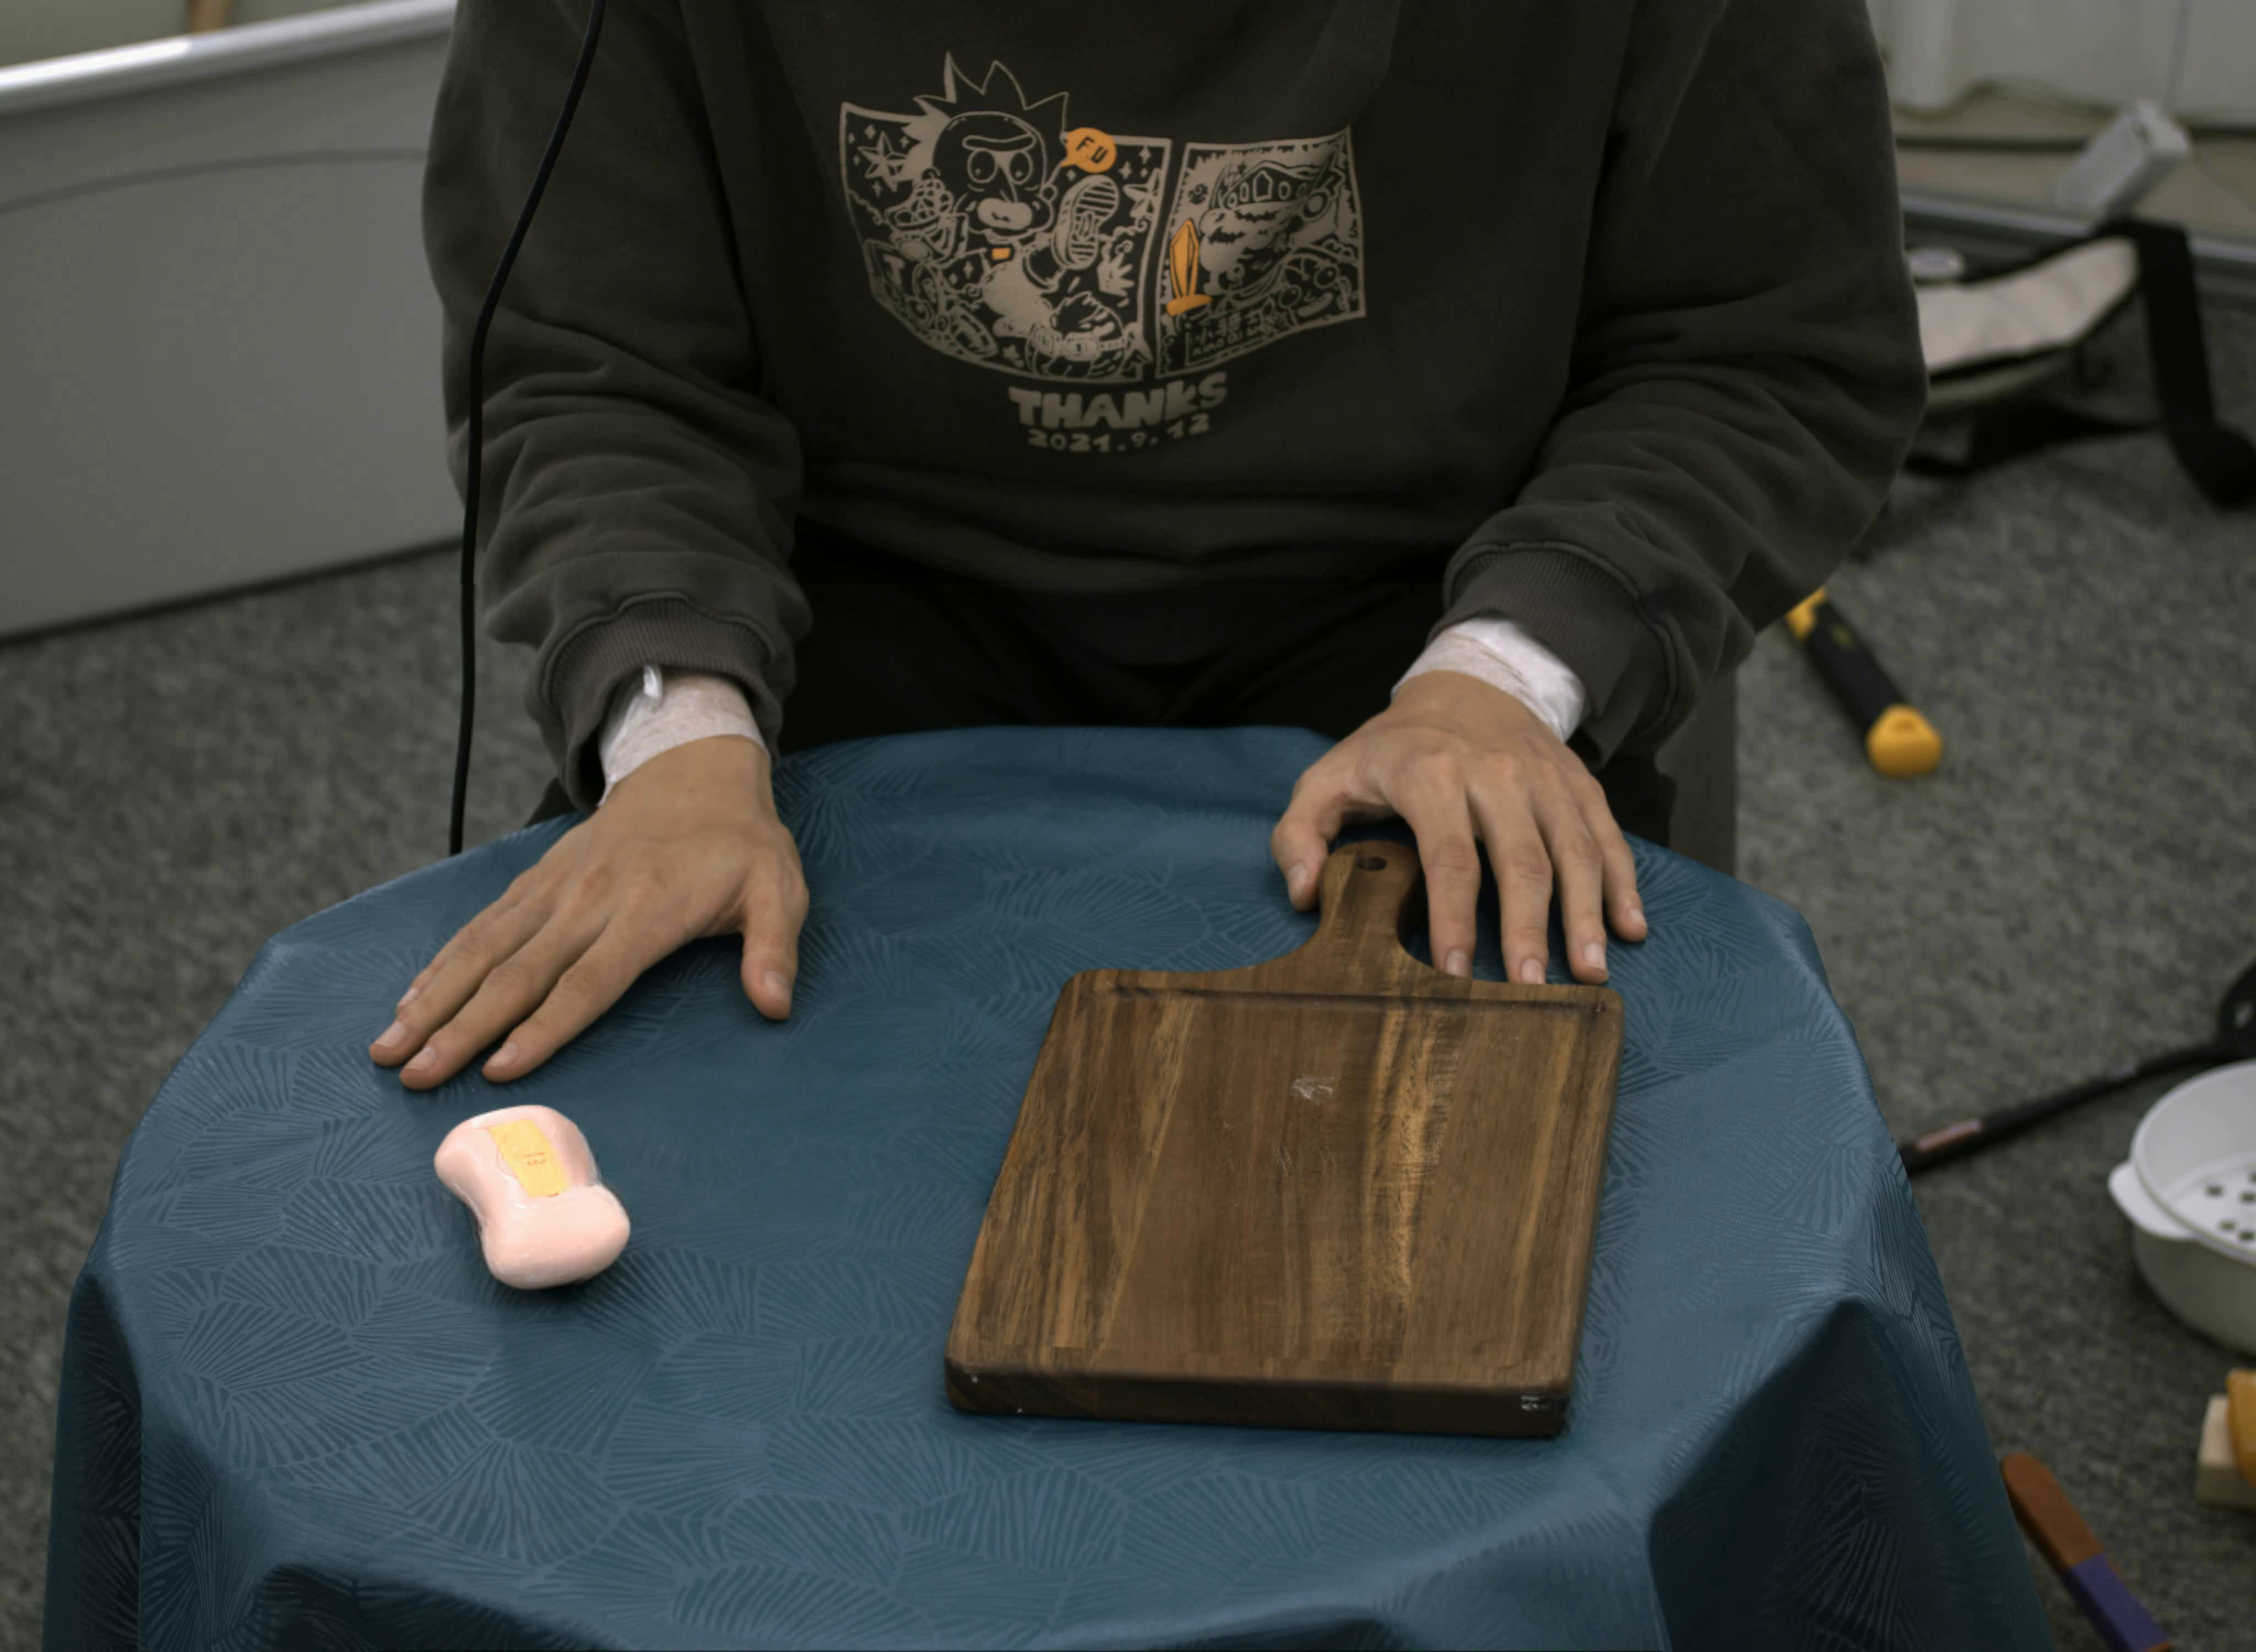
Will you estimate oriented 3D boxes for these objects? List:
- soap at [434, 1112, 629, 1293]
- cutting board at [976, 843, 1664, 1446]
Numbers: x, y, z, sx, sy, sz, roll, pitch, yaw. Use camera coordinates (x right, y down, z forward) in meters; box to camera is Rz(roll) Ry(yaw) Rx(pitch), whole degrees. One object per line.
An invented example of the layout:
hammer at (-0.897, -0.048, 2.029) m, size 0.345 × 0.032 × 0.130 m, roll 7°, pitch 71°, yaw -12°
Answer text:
soap at (-0.197, 0.124, 1.847) m, size 0.050 × 0.030 × 0.095 m, roll -11°, pitch 27°, yaw -16°
cutting board at (0.076, 0.097, 1.877) m, size 0.200 × 0.023 × 0.358 m, roll 2°, pitch 28°, yaw 10°
